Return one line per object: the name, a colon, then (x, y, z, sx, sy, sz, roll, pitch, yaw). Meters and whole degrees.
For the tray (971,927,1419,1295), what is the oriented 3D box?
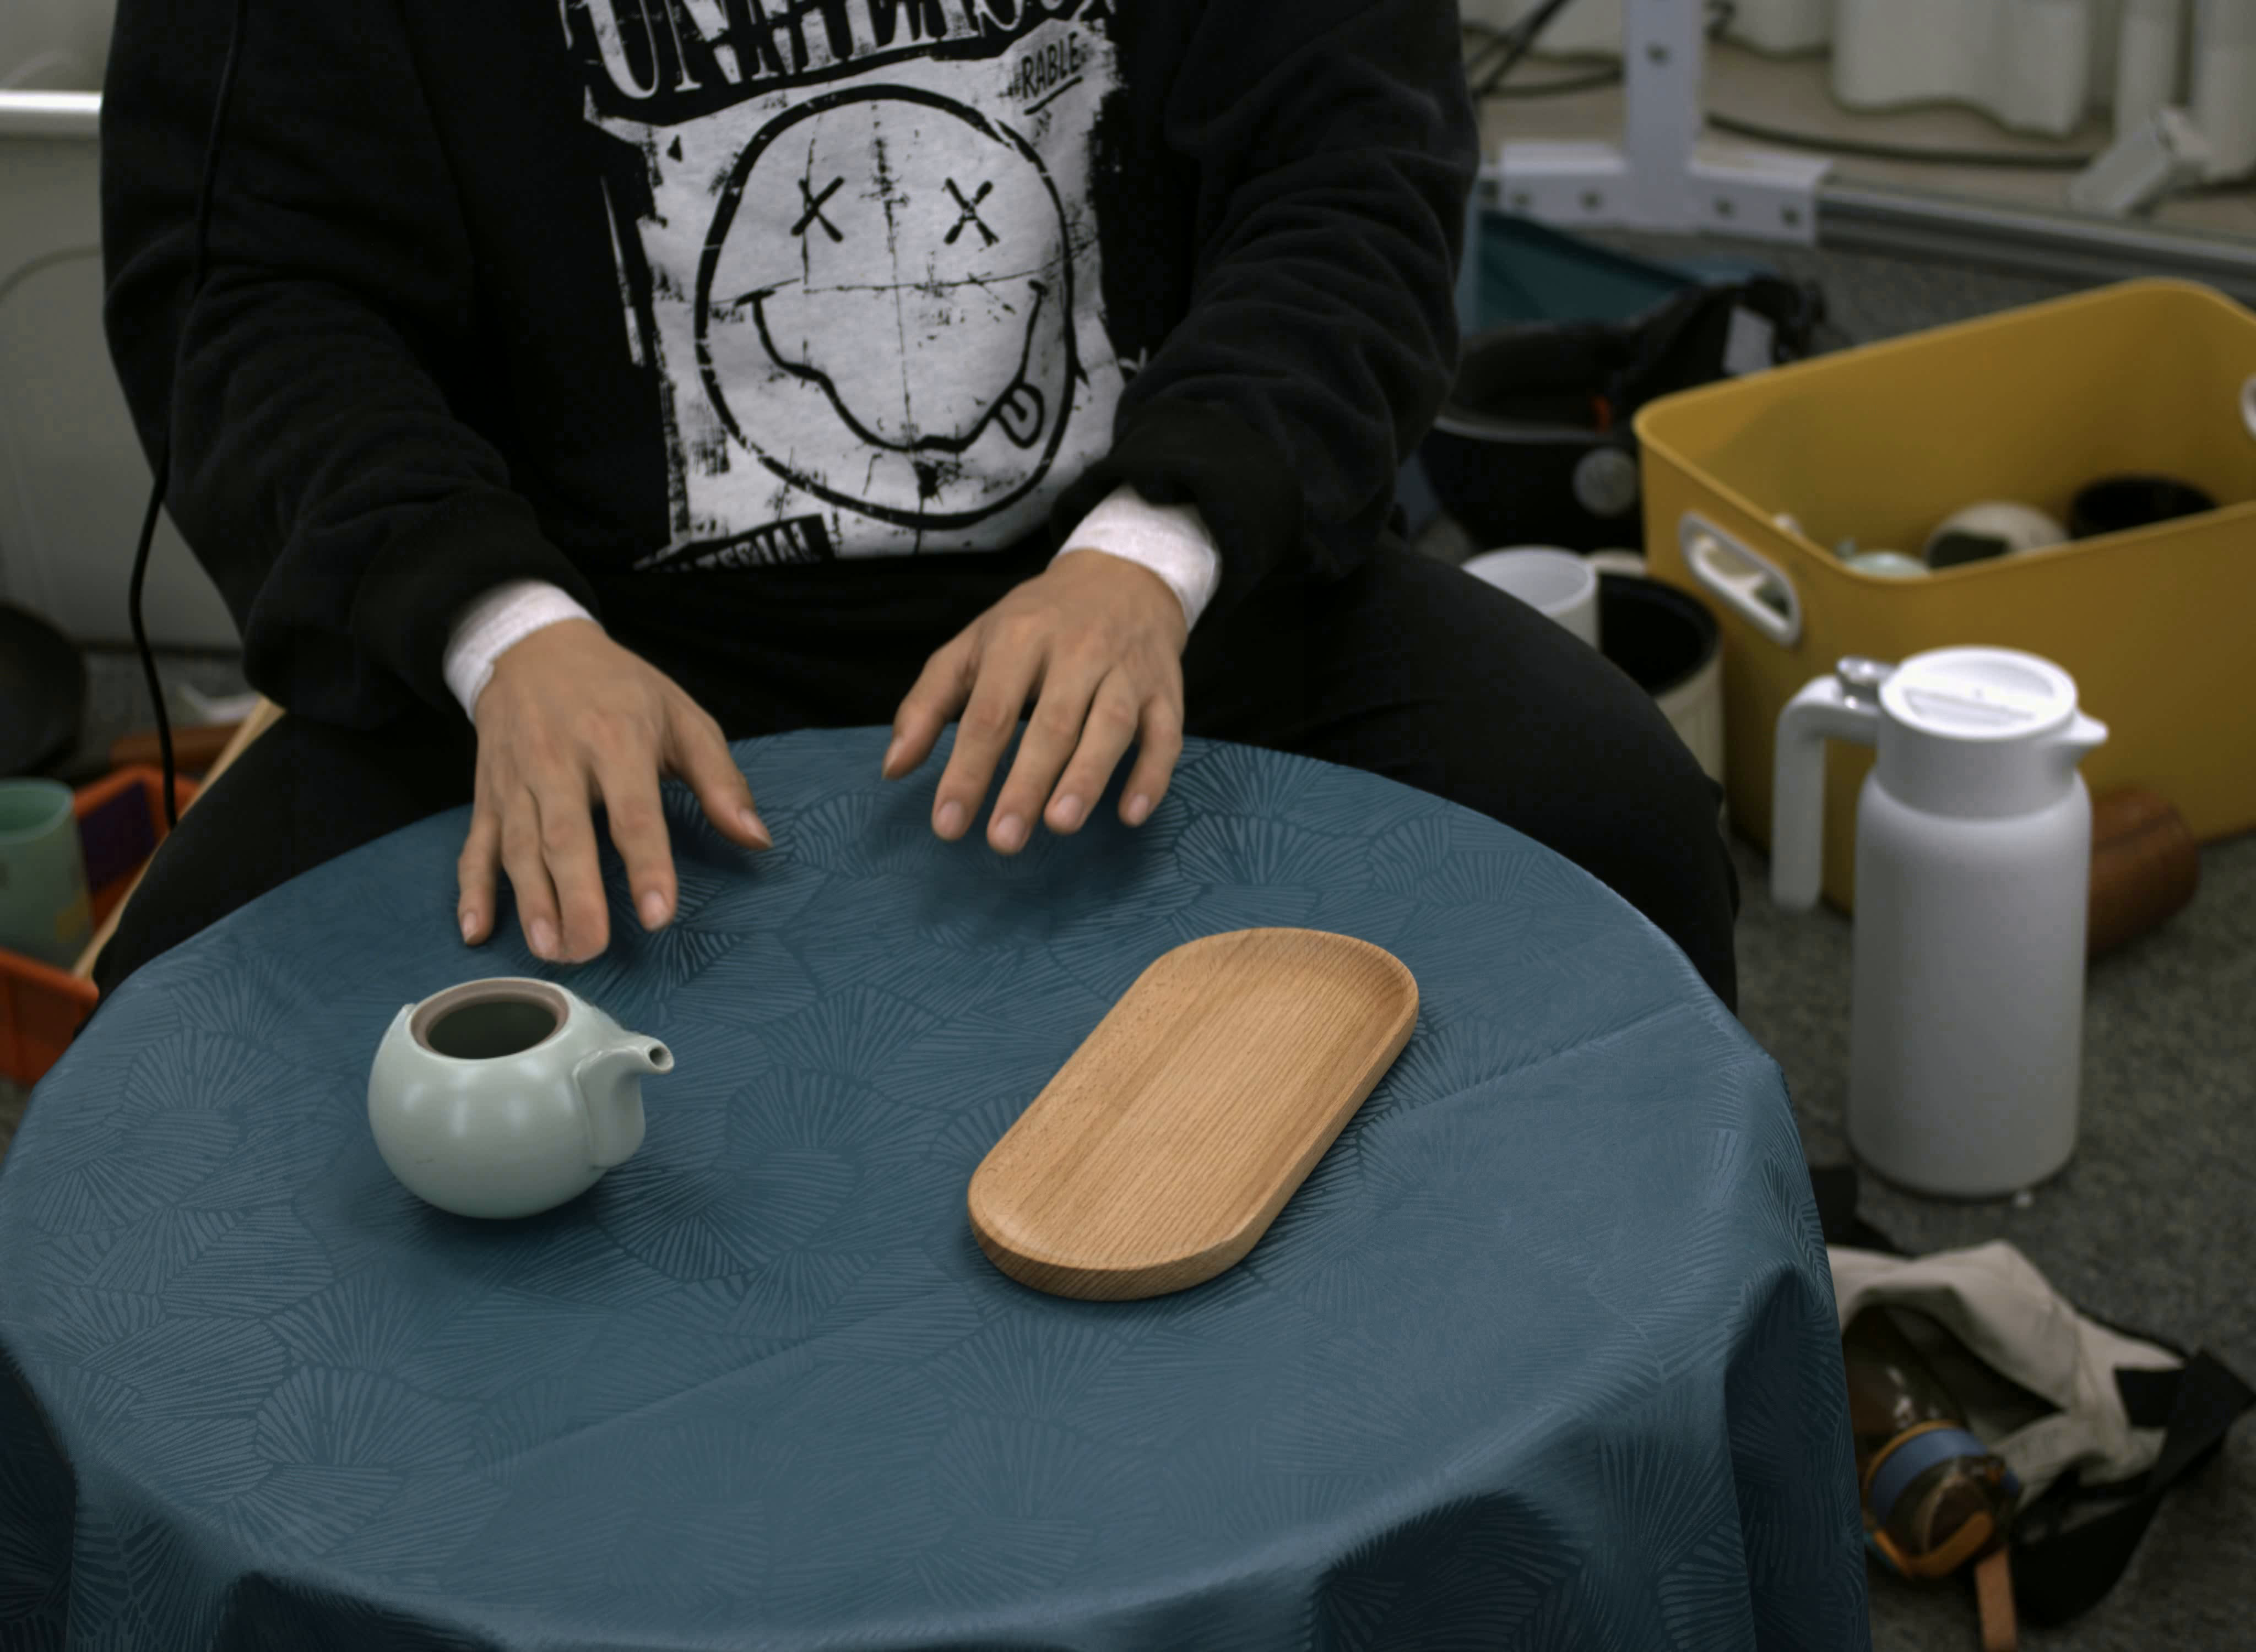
tray: (0.024, 0.094, 1.894, 0.101, 0.020, 0.235, 10, 28, 21)

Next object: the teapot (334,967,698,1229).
teapot: (-0.200, 0.092, 1.860, 0.143, 0.074, 0.090, 12, 30, 28)
